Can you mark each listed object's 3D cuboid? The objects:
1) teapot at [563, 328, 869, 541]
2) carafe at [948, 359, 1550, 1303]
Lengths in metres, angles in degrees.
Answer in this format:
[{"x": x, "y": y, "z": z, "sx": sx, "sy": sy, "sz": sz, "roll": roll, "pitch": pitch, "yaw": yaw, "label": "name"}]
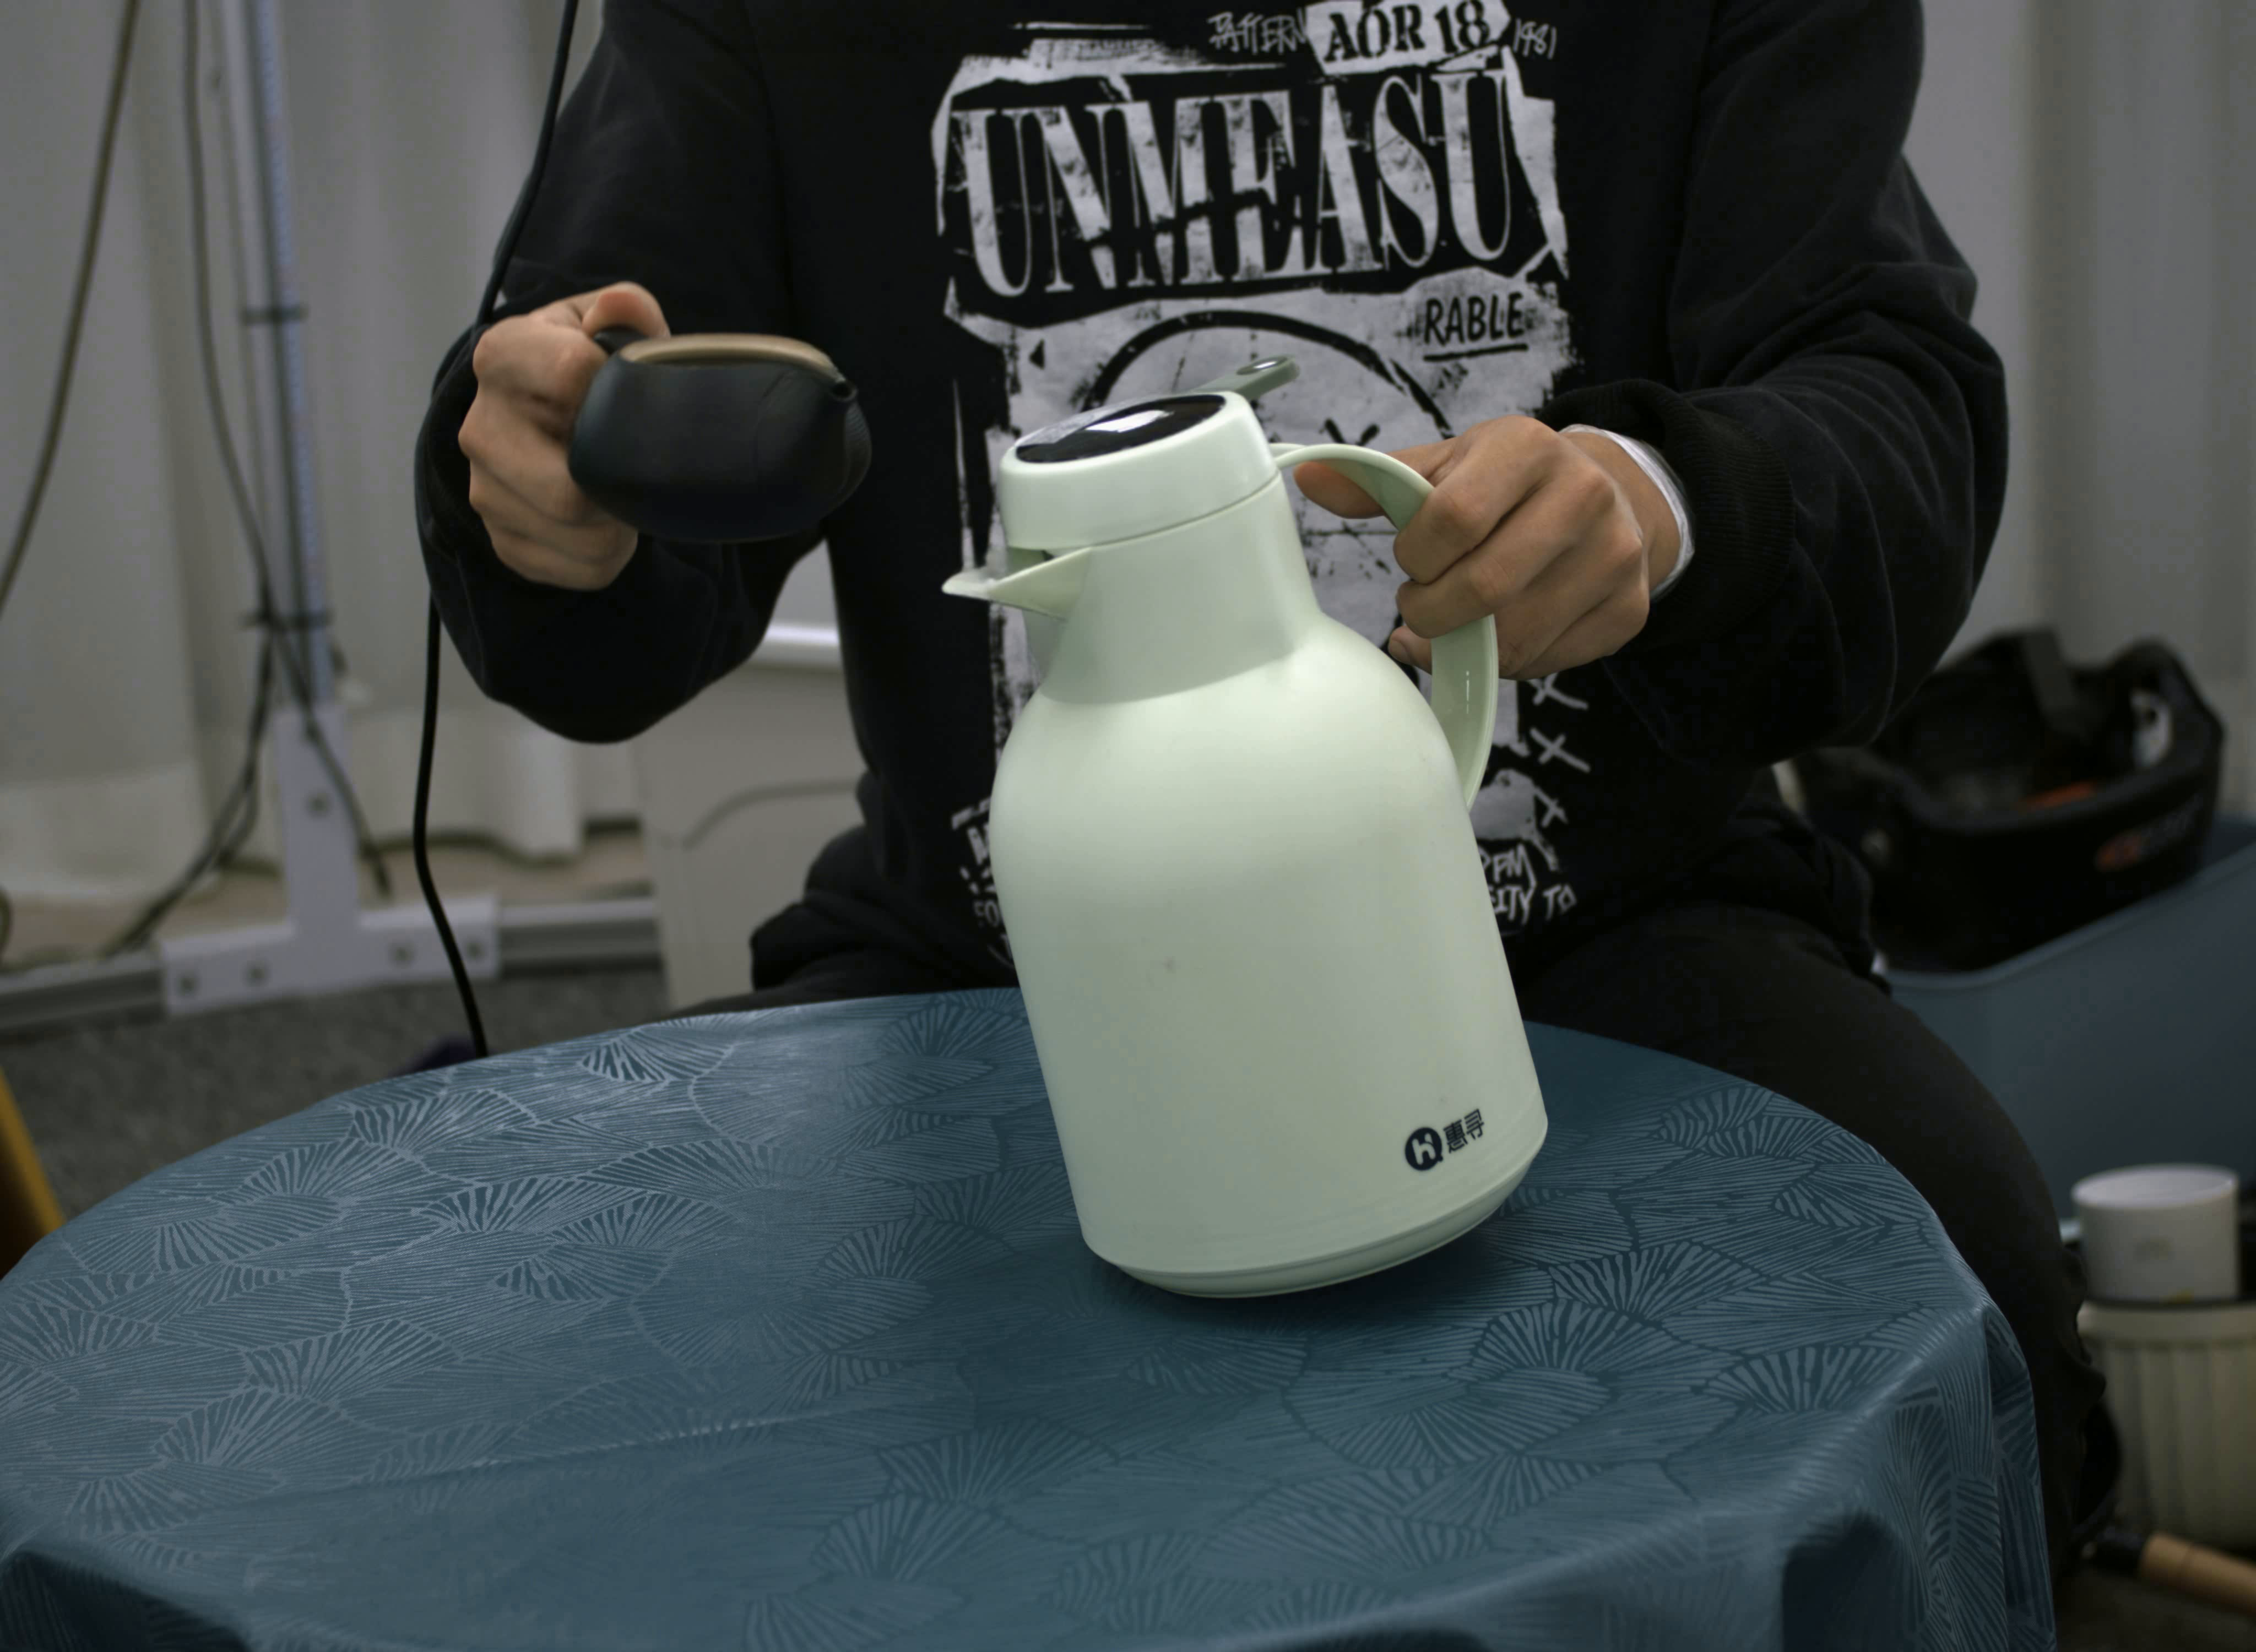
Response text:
[{"x": -0.122, "y": -0.115, "z": 1.627, "sx": 0.090, "sy": 0.053, "sz": 0.134, "roll": -8, "pitch": 17, "yaw": -38, "label": "teapot"}, {"x": 0.041, "y": -0.003, "z": 1.624, "sx": 0.186, "sy": 0.256, "sz": 0.145, "roll": -21, "pitch": 14, "yaw": -37, "label": "carafe"}]
